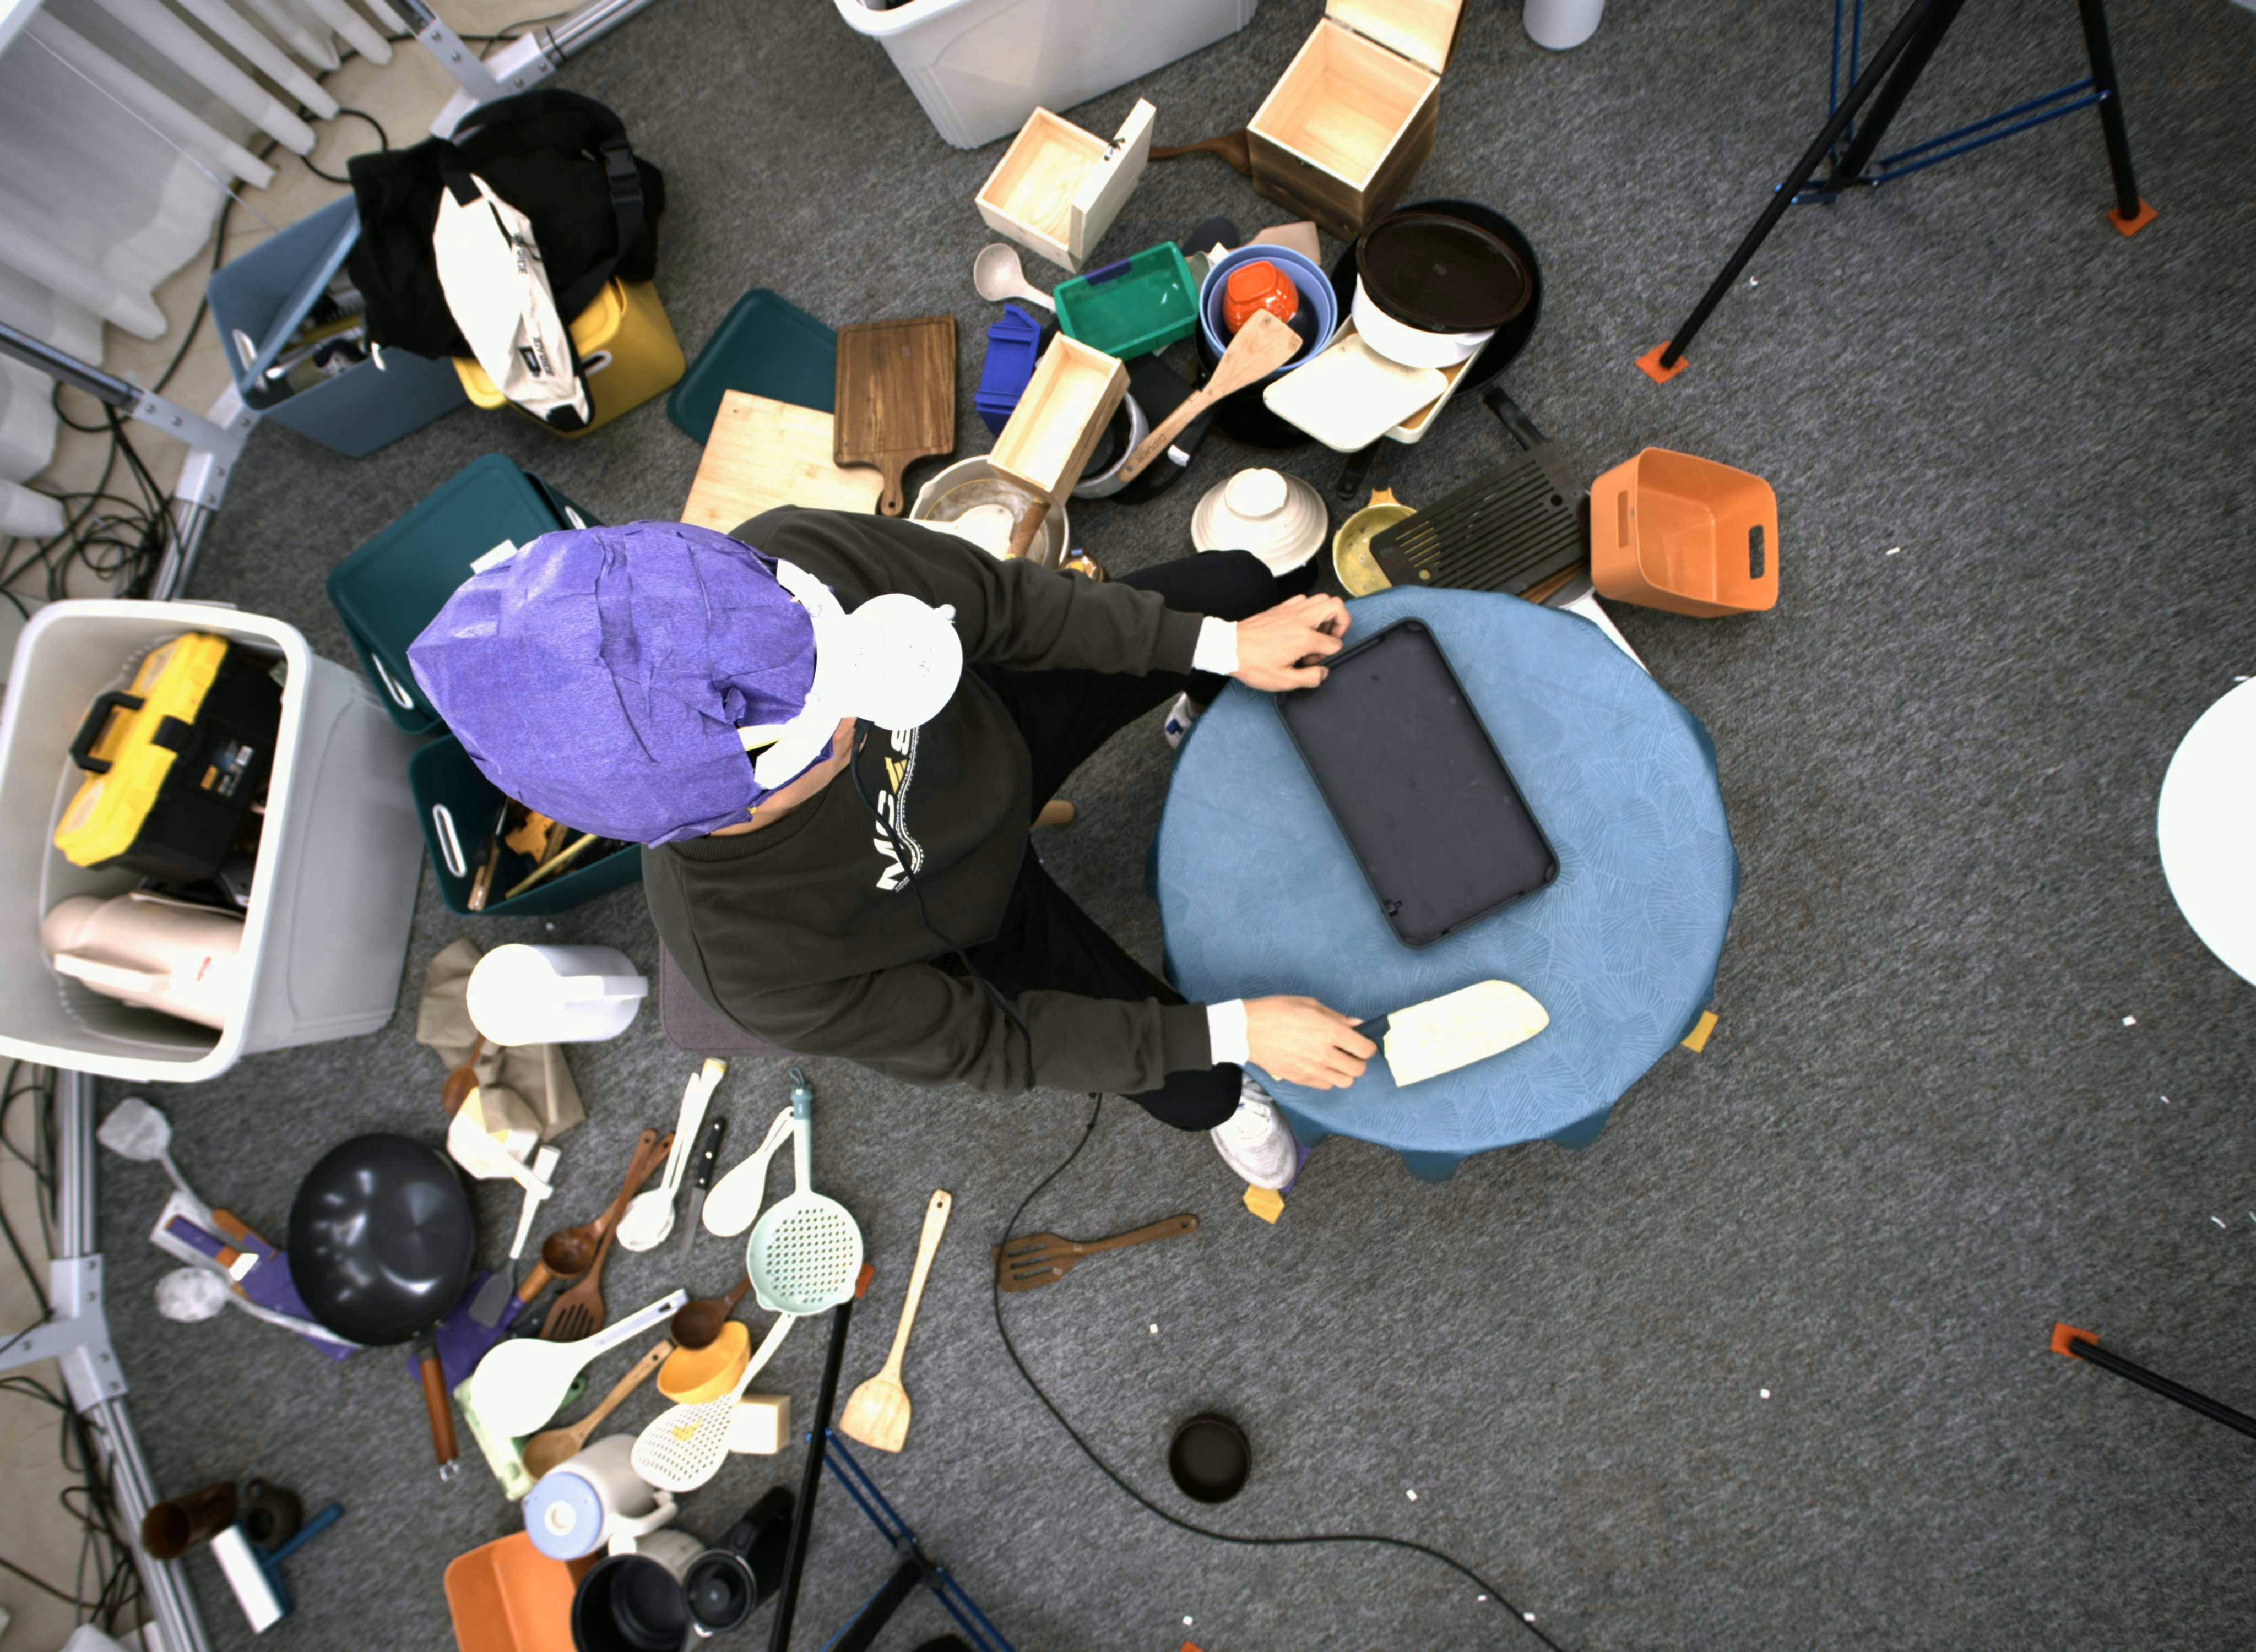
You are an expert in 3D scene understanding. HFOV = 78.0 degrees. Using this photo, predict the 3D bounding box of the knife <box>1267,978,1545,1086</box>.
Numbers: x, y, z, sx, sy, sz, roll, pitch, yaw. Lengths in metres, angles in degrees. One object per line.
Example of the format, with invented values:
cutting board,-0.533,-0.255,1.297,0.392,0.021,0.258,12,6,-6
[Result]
knife,0.284,0.219,1.405,0.290,0.027,0.080,-16,85,3

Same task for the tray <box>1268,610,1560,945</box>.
tray,0.296,-0.052,1.440,0.185,0.037,0.316,-30,84,9
